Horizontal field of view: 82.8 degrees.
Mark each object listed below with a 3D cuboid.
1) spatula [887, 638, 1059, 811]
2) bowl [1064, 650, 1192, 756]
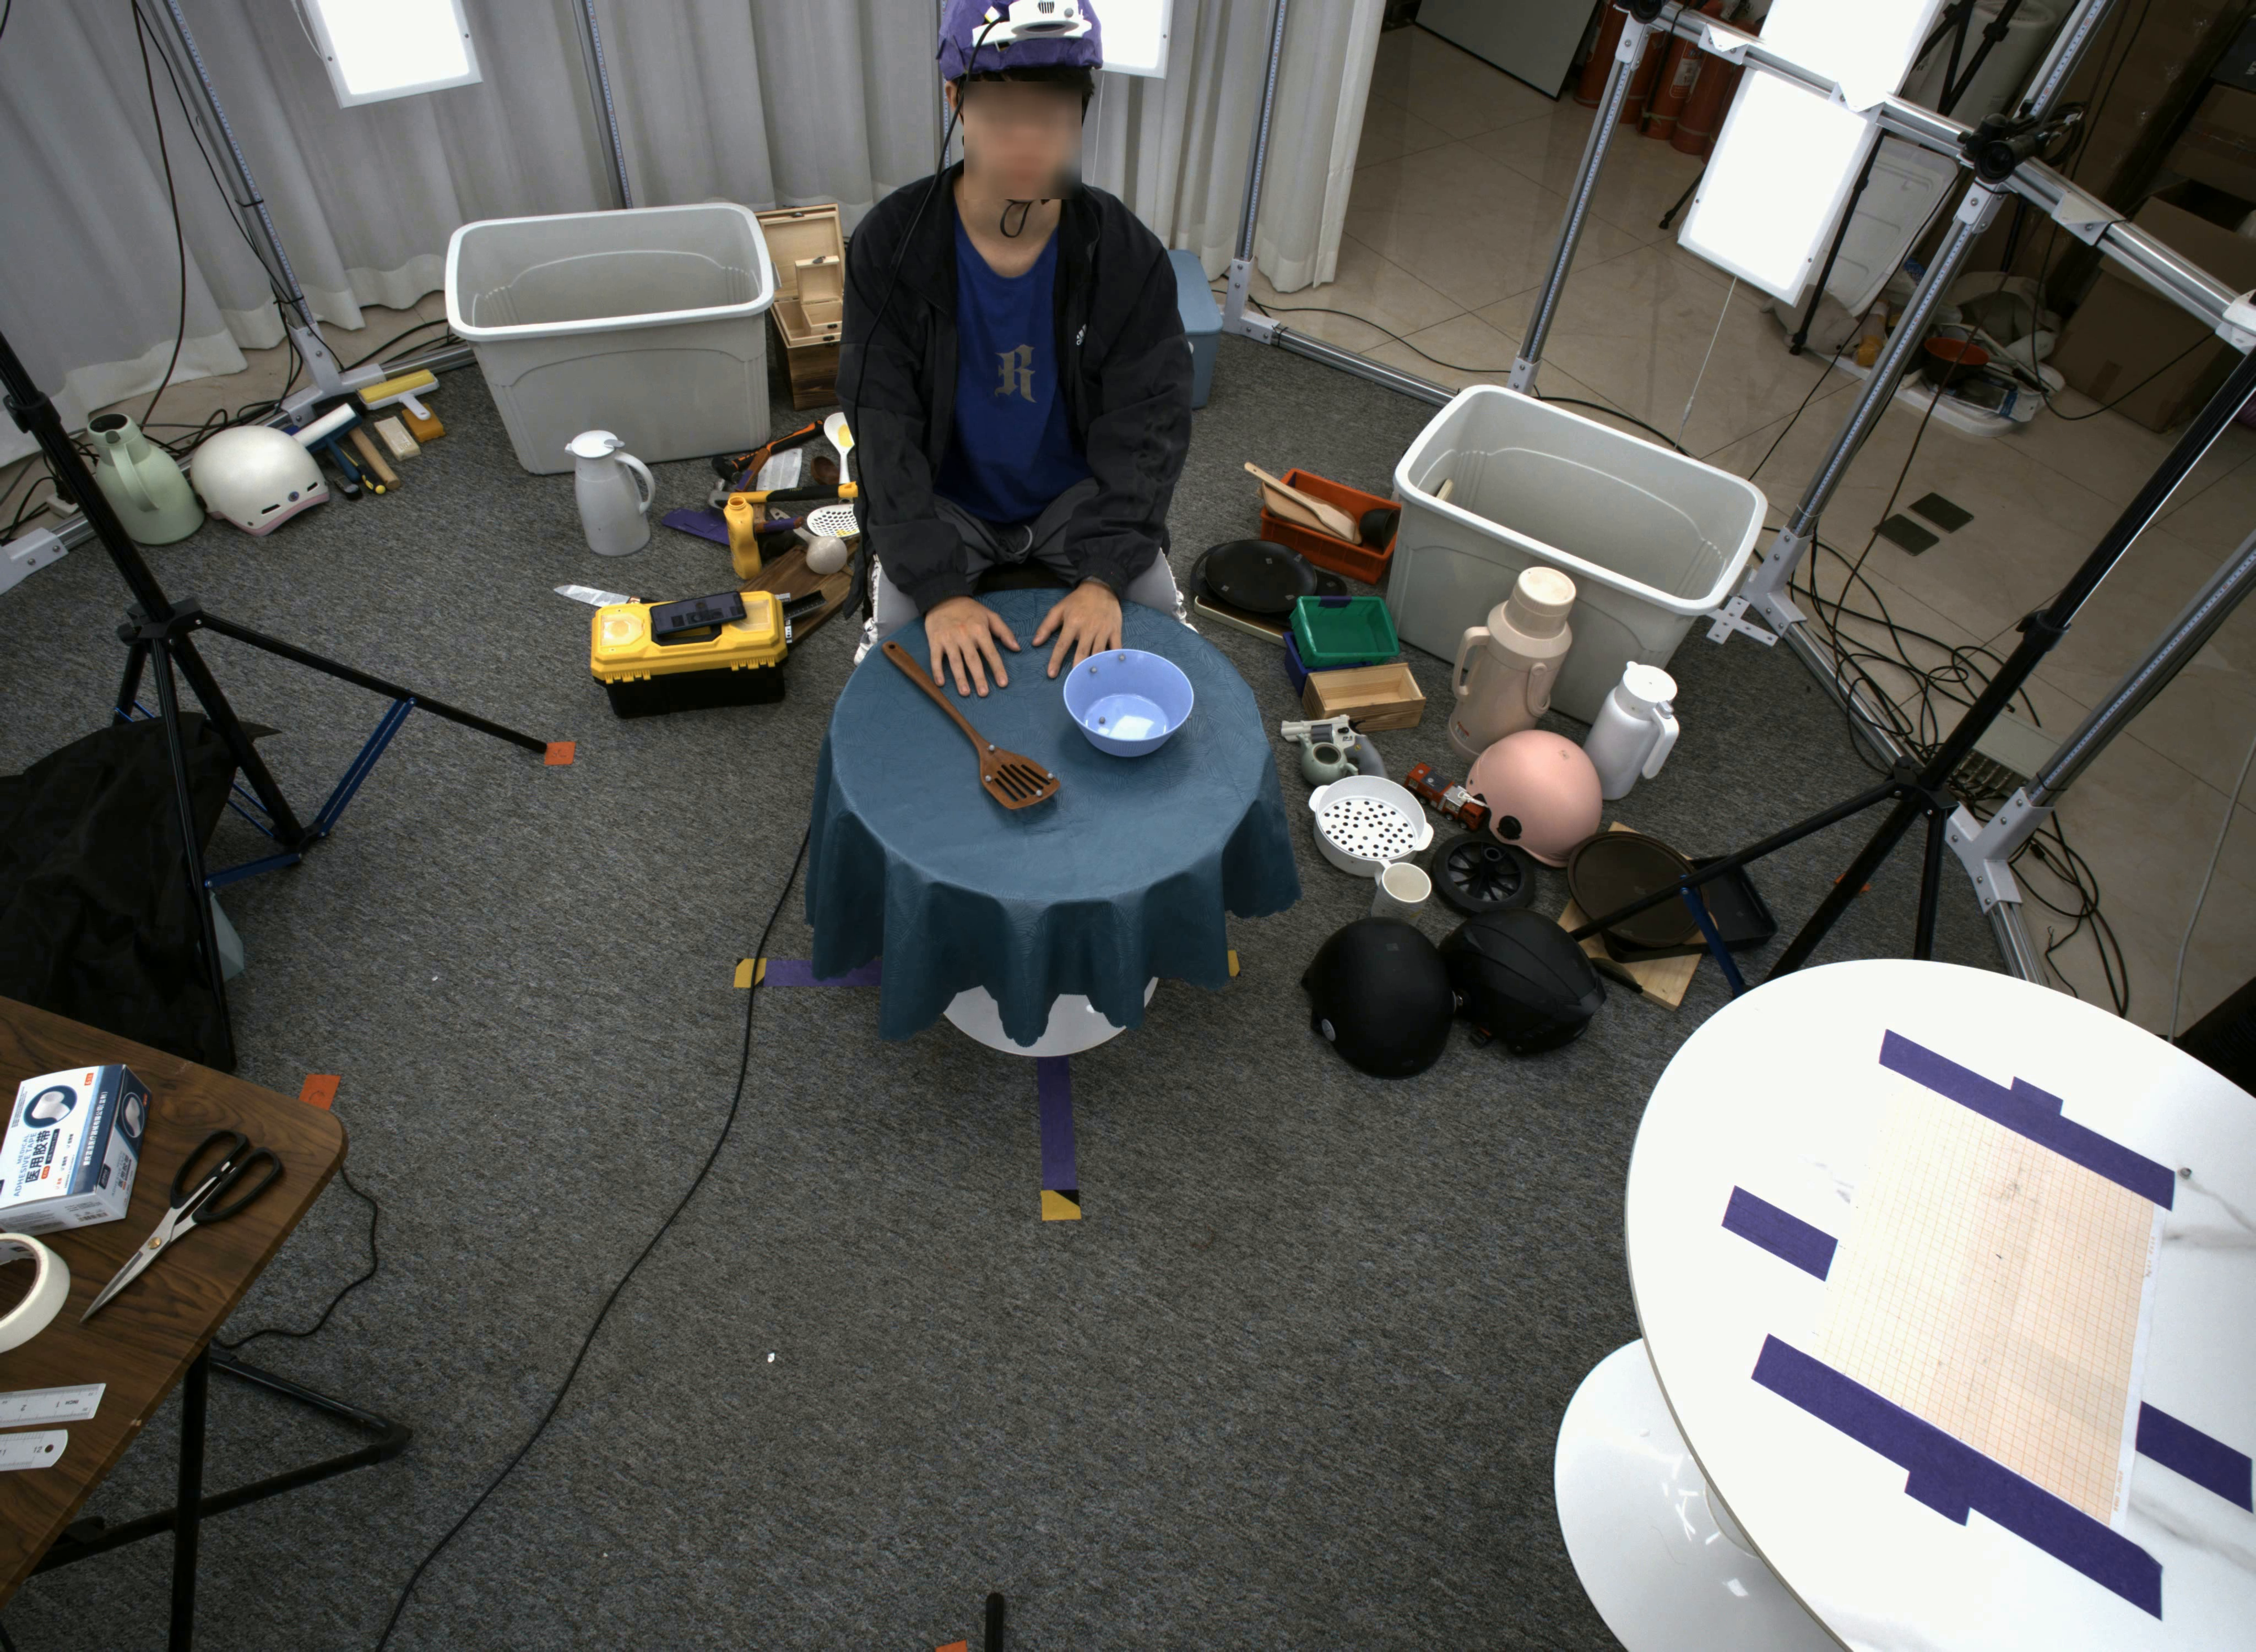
[{"bbox_3d":[-0.230,-0.147,1.772,0.086,0.023,0.394,-27,55,-25],"label":"spatula"},{"bbox_3d":[-0.001,-0.160,1.765,0.176,0.068,0.180,2,48,-2],"label":"bowl"}]
